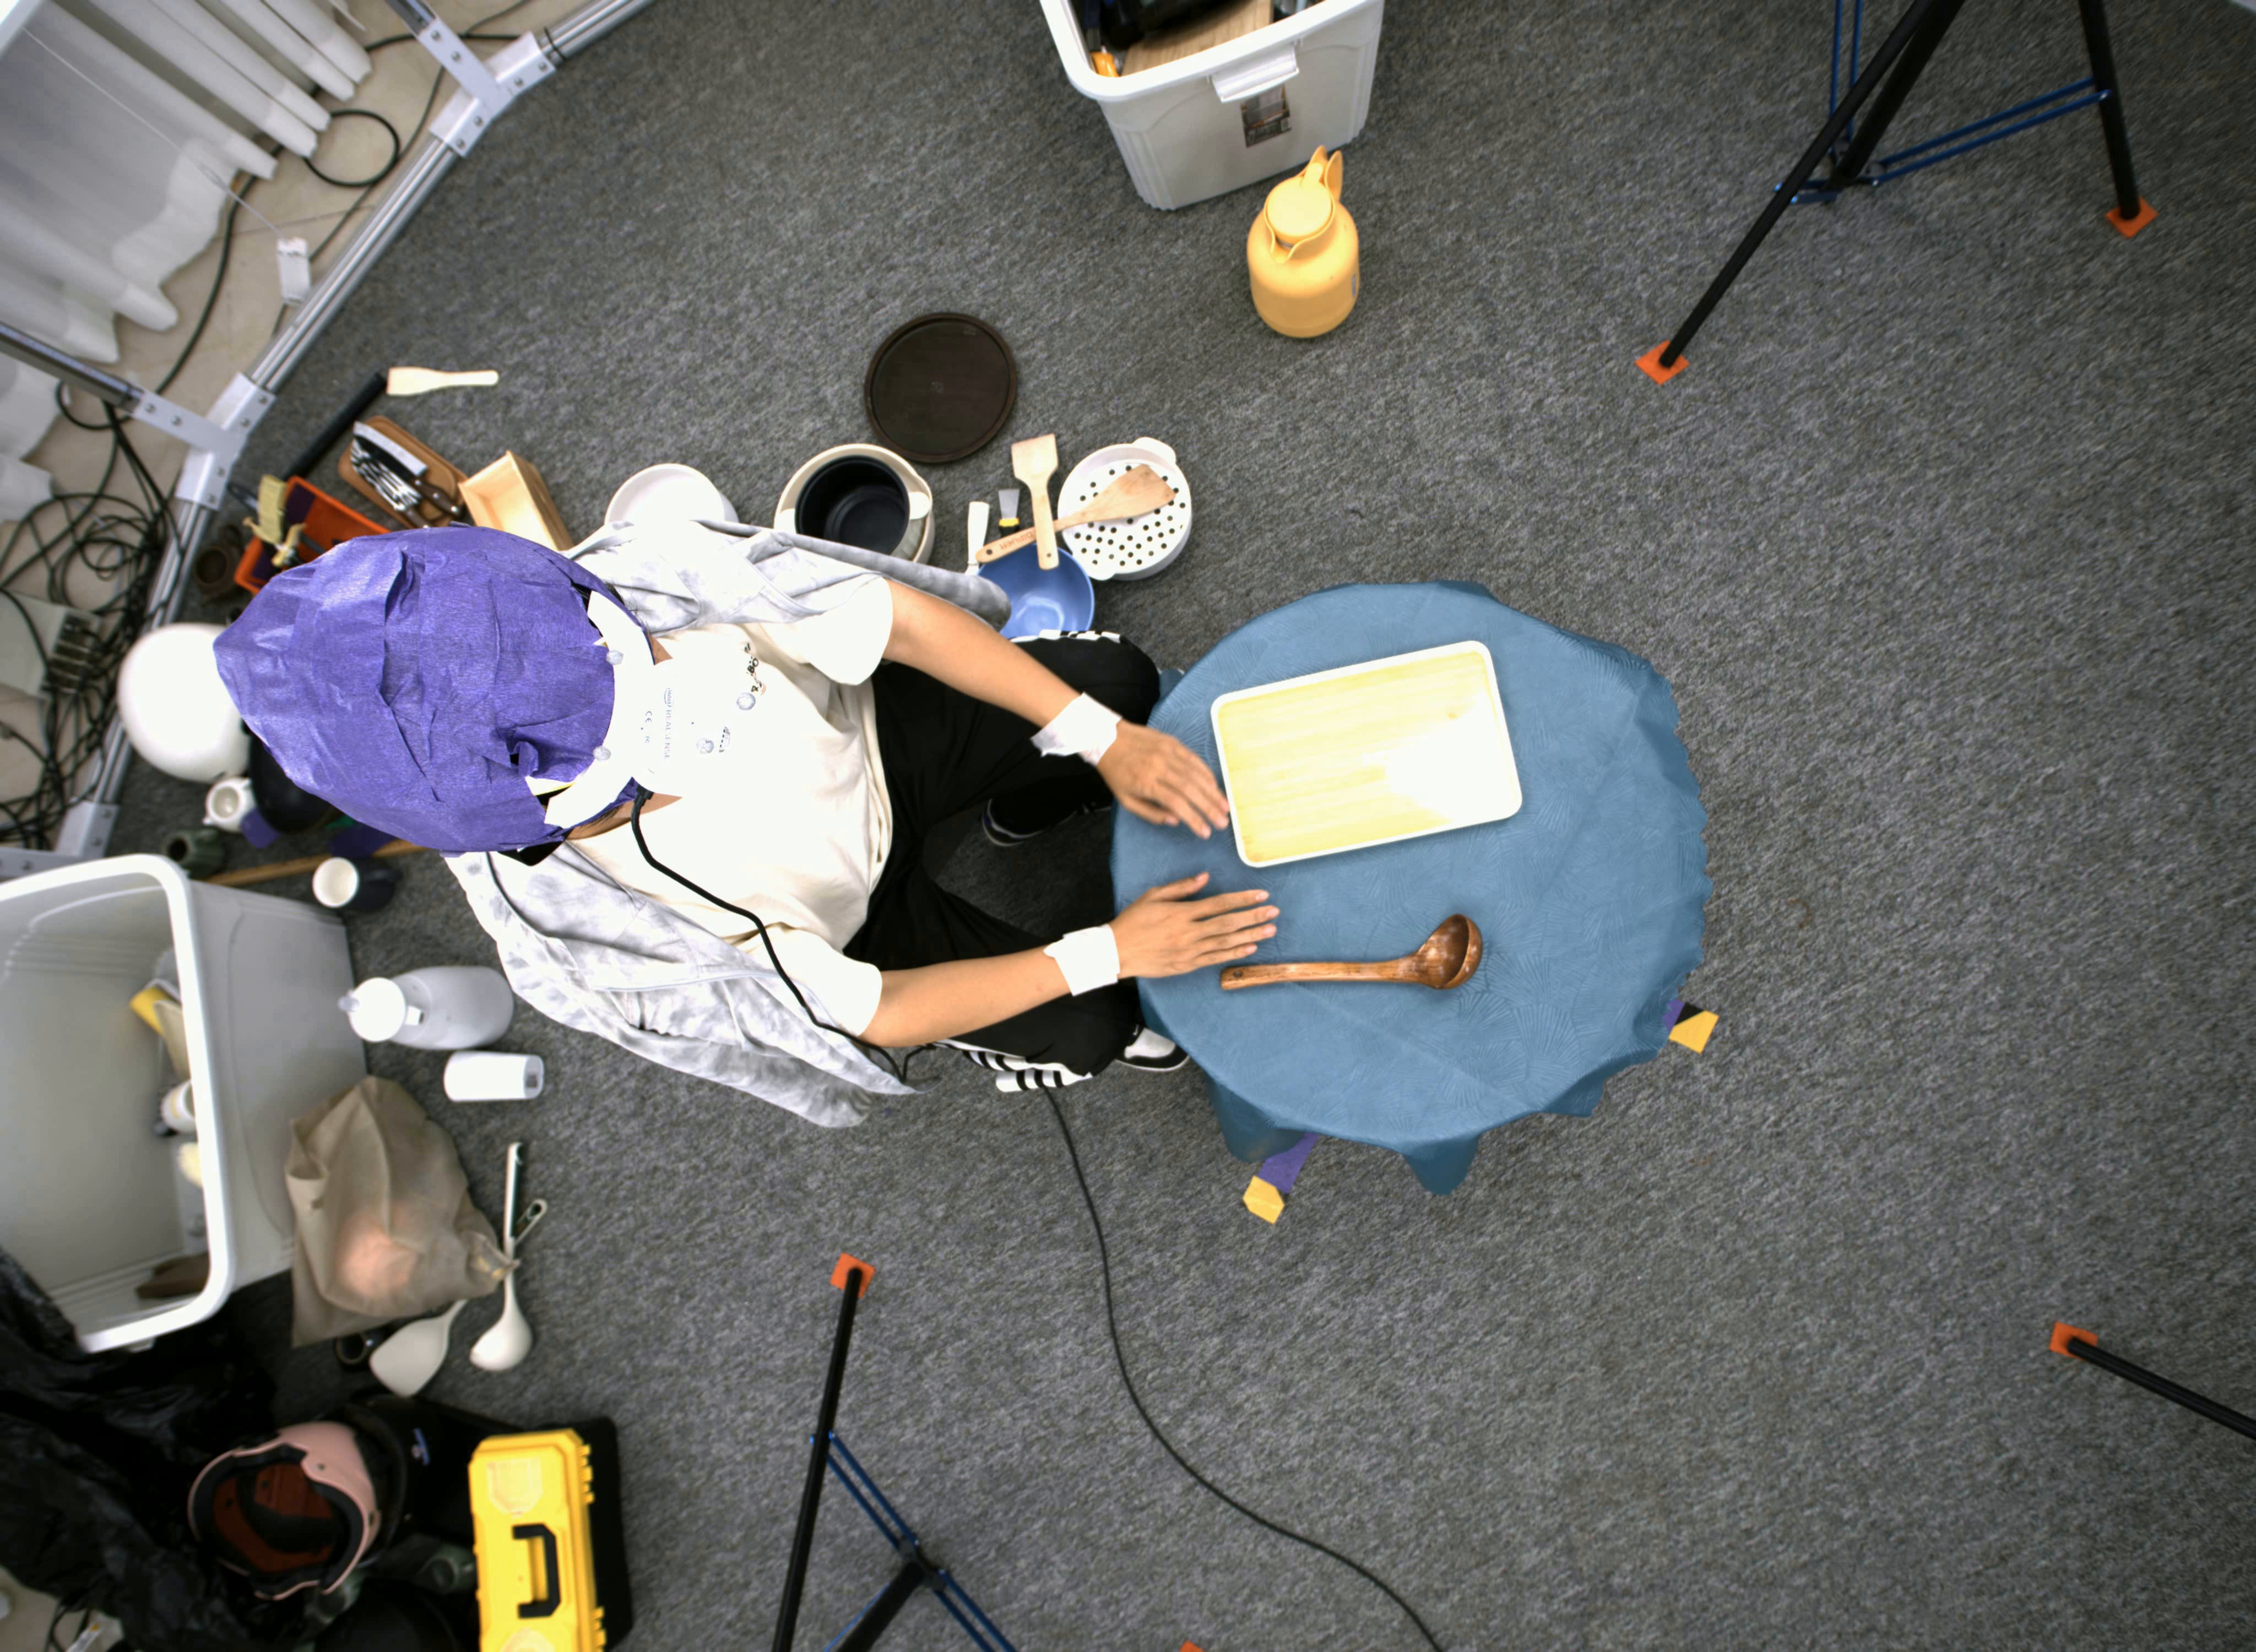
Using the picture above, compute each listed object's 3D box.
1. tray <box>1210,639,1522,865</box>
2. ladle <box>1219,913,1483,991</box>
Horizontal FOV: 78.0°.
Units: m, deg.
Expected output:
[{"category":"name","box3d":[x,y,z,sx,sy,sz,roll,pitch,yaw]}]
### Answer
[{"category":"tray","box3d":[0.249,-0.078,1.456,0.302,0.027,0.190,-12,85,10]},{"category":"ladle","box3d":[0.226,0.132,1.428,0.275,0.078,0.079,-2,44,12]}]
